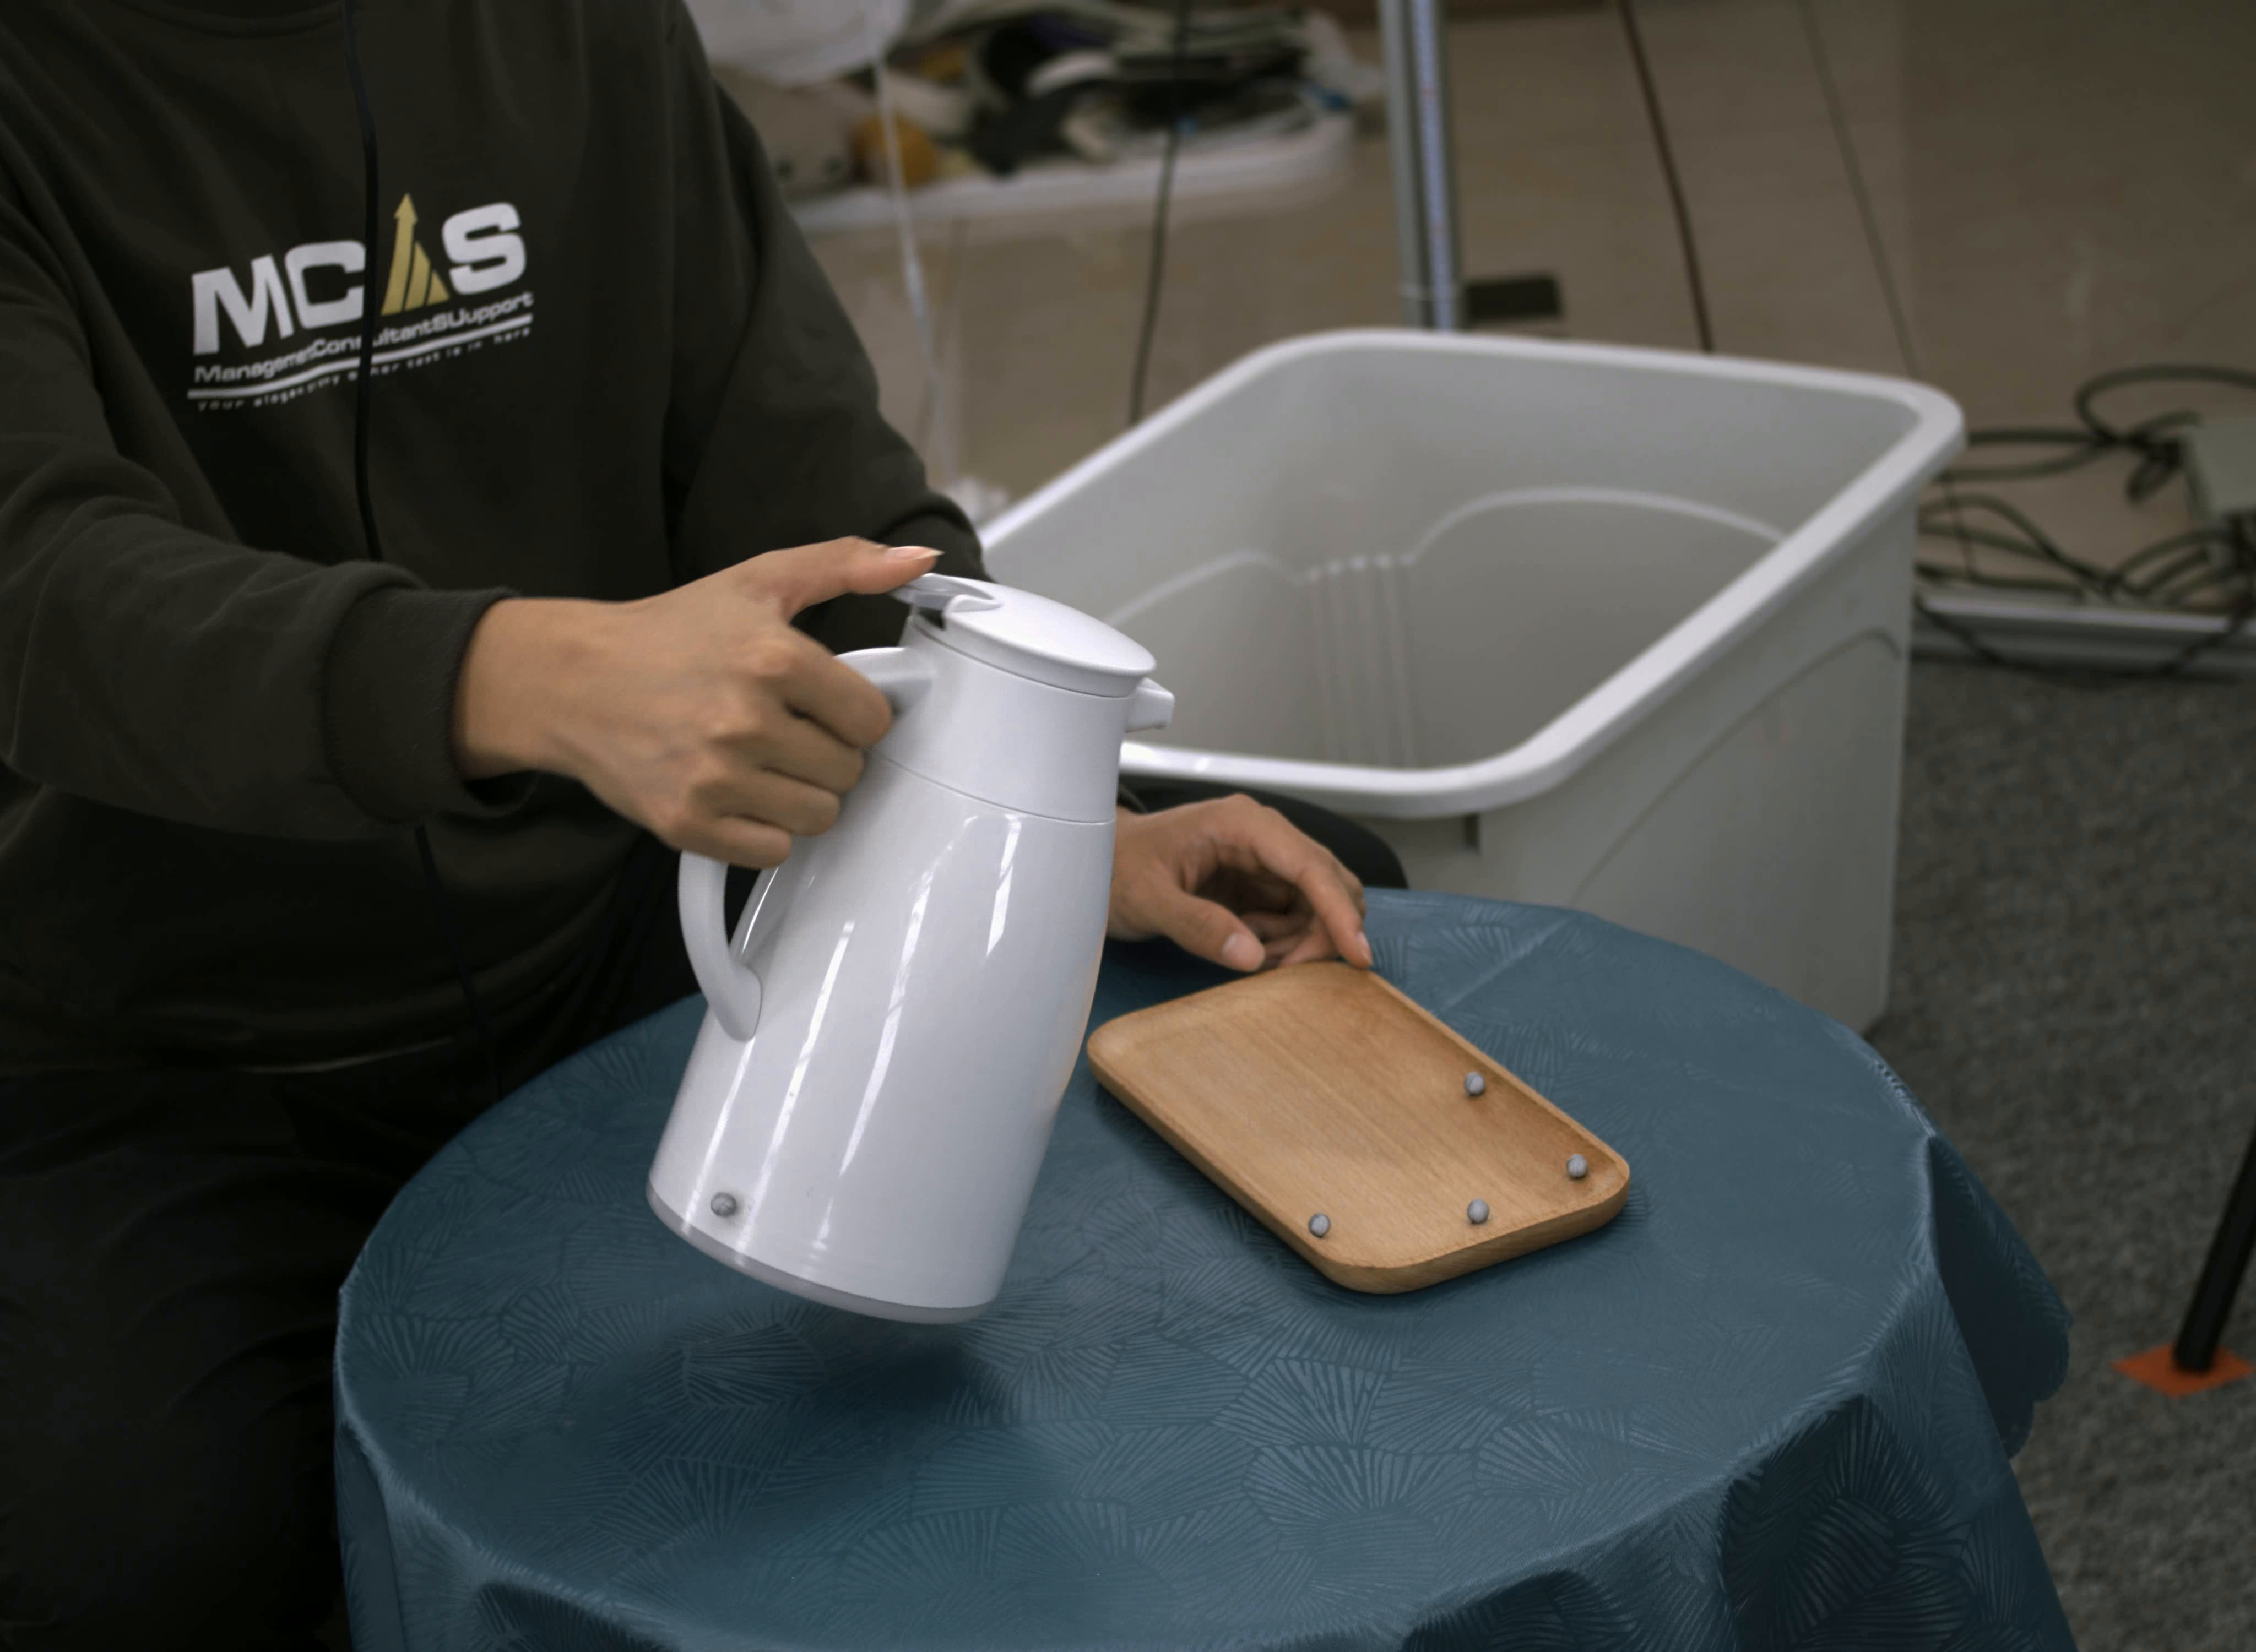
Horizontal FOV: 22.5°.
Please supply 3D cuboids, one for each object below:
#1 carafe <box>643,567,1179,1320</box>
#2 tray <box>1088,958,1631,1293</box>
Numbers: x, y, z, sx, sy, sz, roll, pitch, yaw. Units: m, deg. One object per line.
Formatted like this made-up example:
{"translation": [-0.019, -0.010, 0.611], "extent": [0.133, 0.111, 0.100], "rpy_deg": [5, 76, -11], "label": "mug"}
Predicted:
{"translation": [-0.084, 0.032, 1.991], "extent": [0.168, 0.251, 0.131], "rpy_deg": [11, 16, -37], "label": "carafe"}
{"translation": [0.085, 0.112, 2.165], "extent": [0.130, 0.023, 0.248], "rpy_deg": [-14, 24, -21], "label": "tray"}
